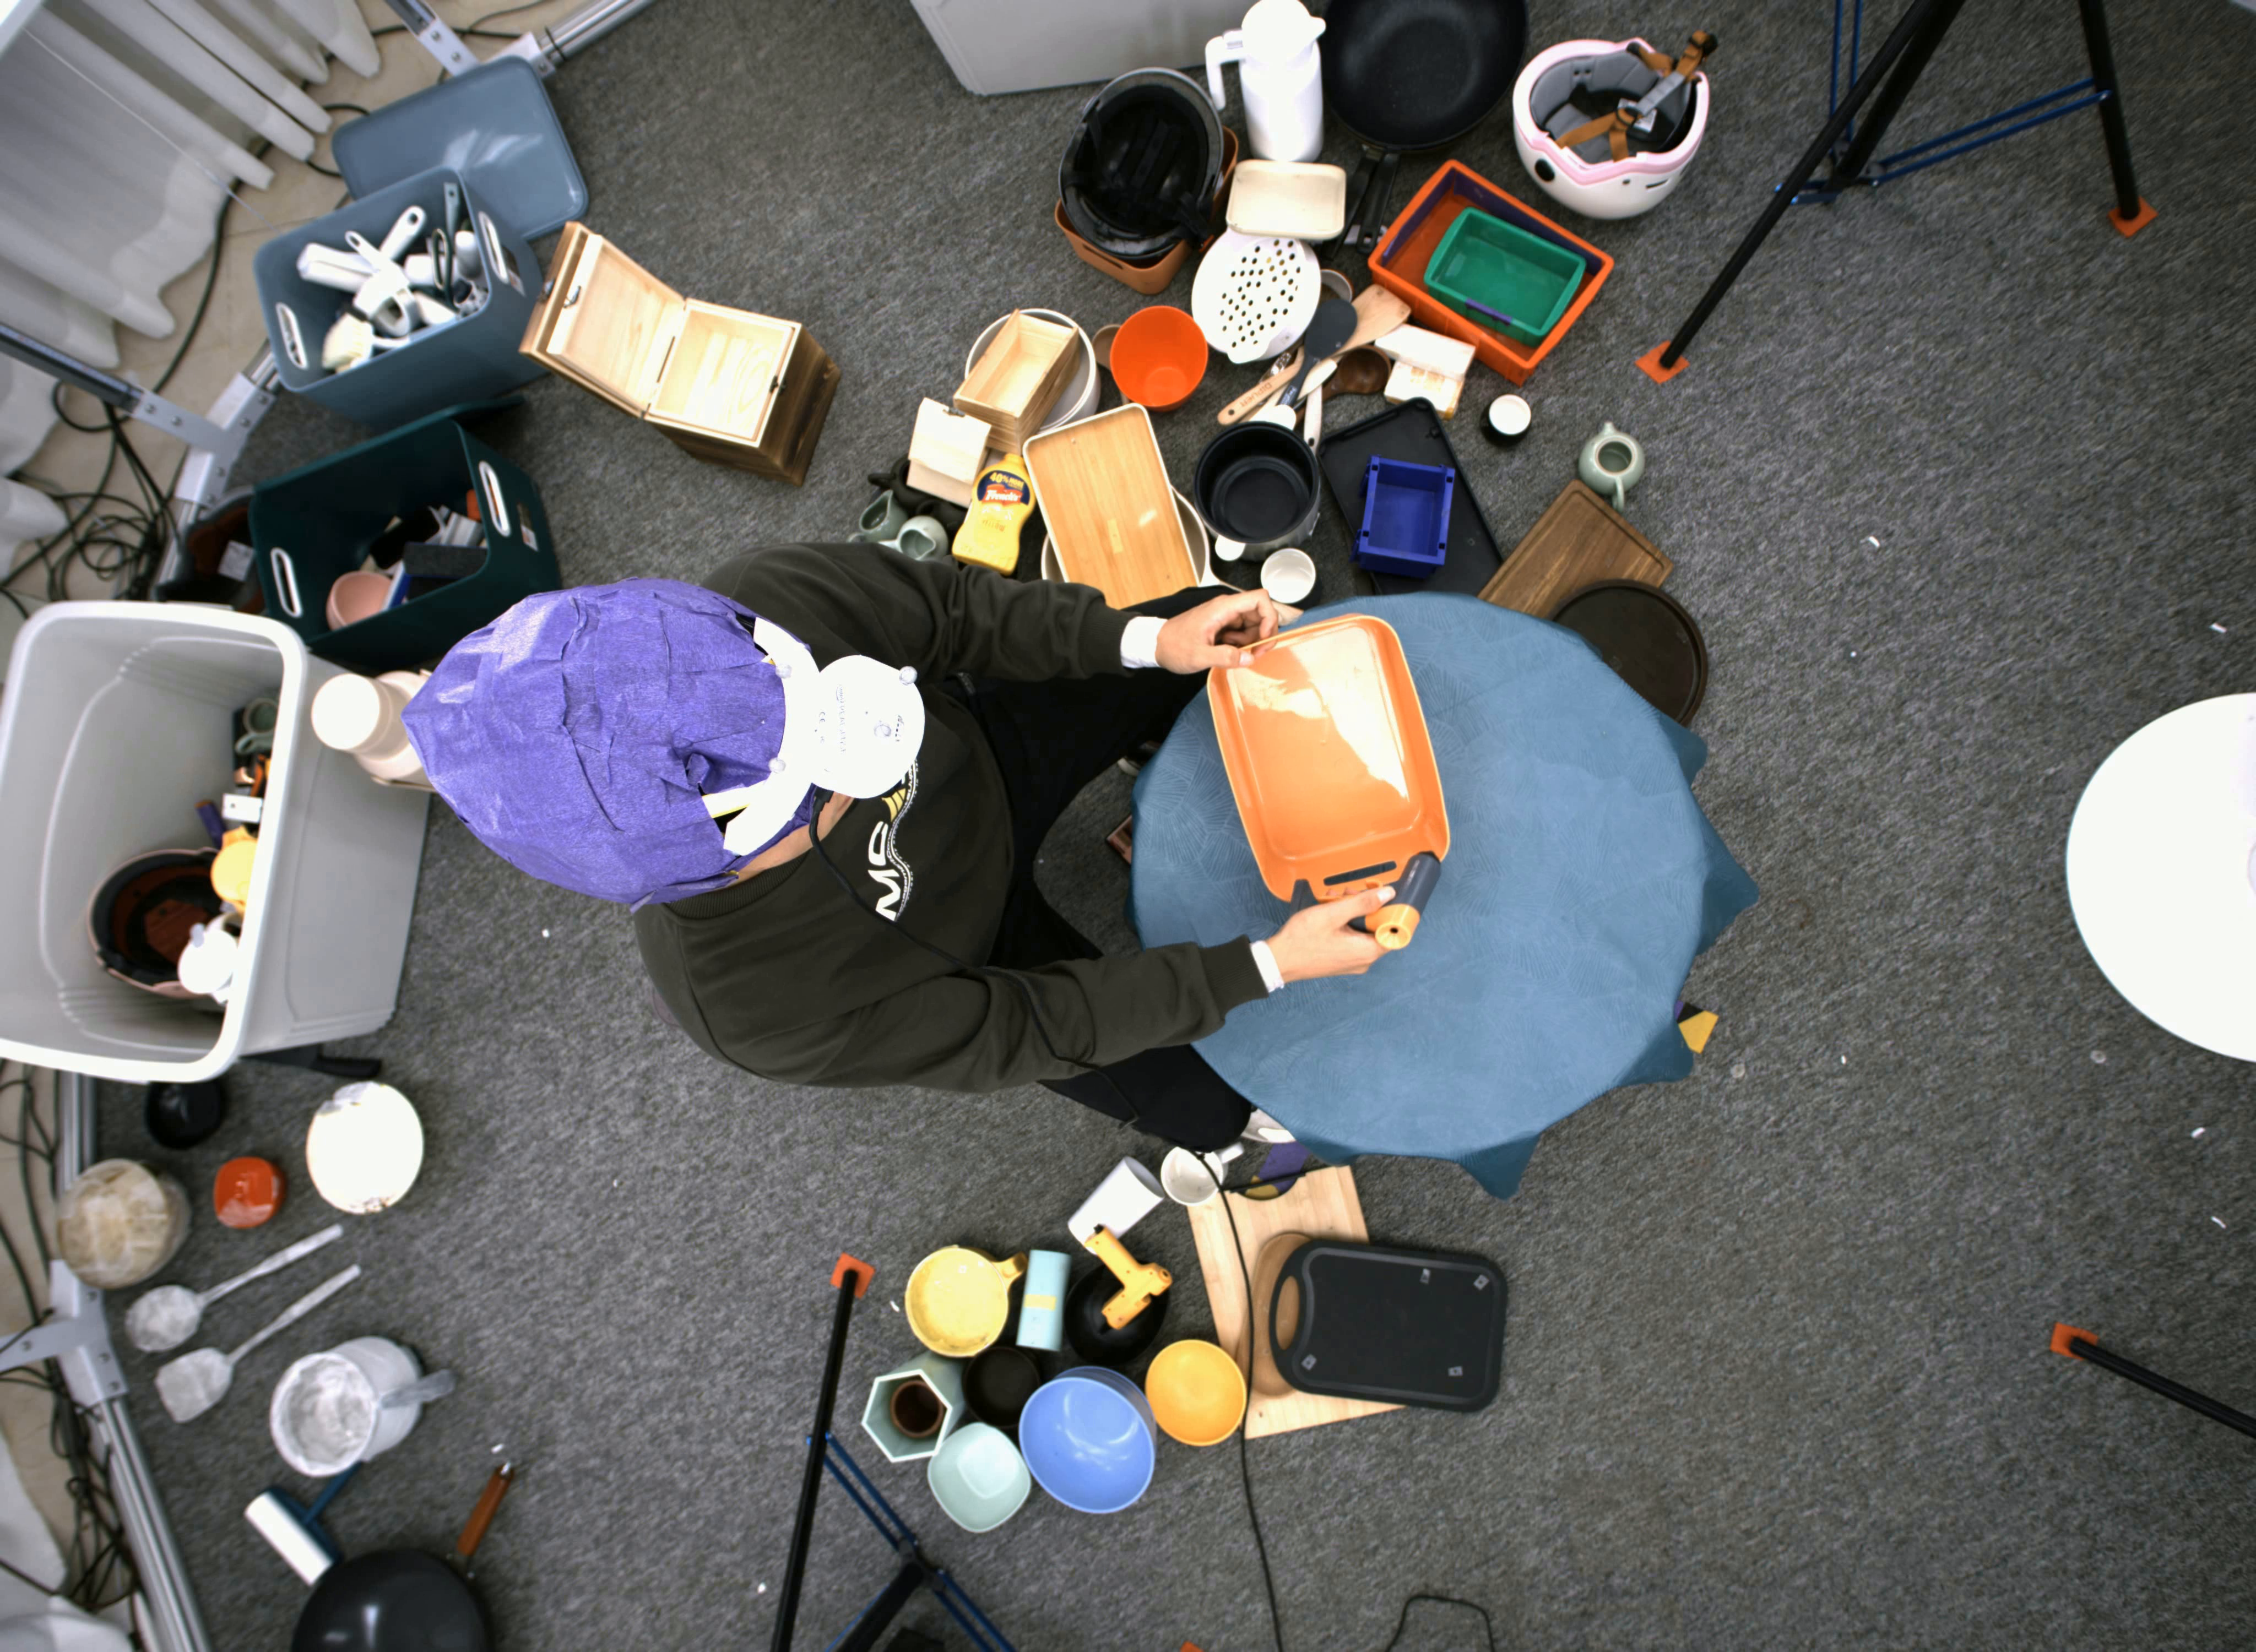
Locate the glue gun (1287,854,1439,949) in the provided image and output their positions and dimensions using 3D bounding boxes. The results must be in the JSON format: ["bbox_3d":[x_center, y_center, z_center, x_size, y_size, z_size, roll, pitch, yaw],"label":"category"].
[{"bbox_3d":[0.228,0.071,1.330,0.141,0.115,0.042,-9,124,22],"label":"glue gun"}]

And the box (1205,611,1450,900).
[{"bbox_3d":[0.198,-0.077,1.389,0.200,0.101,0.276,-16,107,10],"label":"box"}]
